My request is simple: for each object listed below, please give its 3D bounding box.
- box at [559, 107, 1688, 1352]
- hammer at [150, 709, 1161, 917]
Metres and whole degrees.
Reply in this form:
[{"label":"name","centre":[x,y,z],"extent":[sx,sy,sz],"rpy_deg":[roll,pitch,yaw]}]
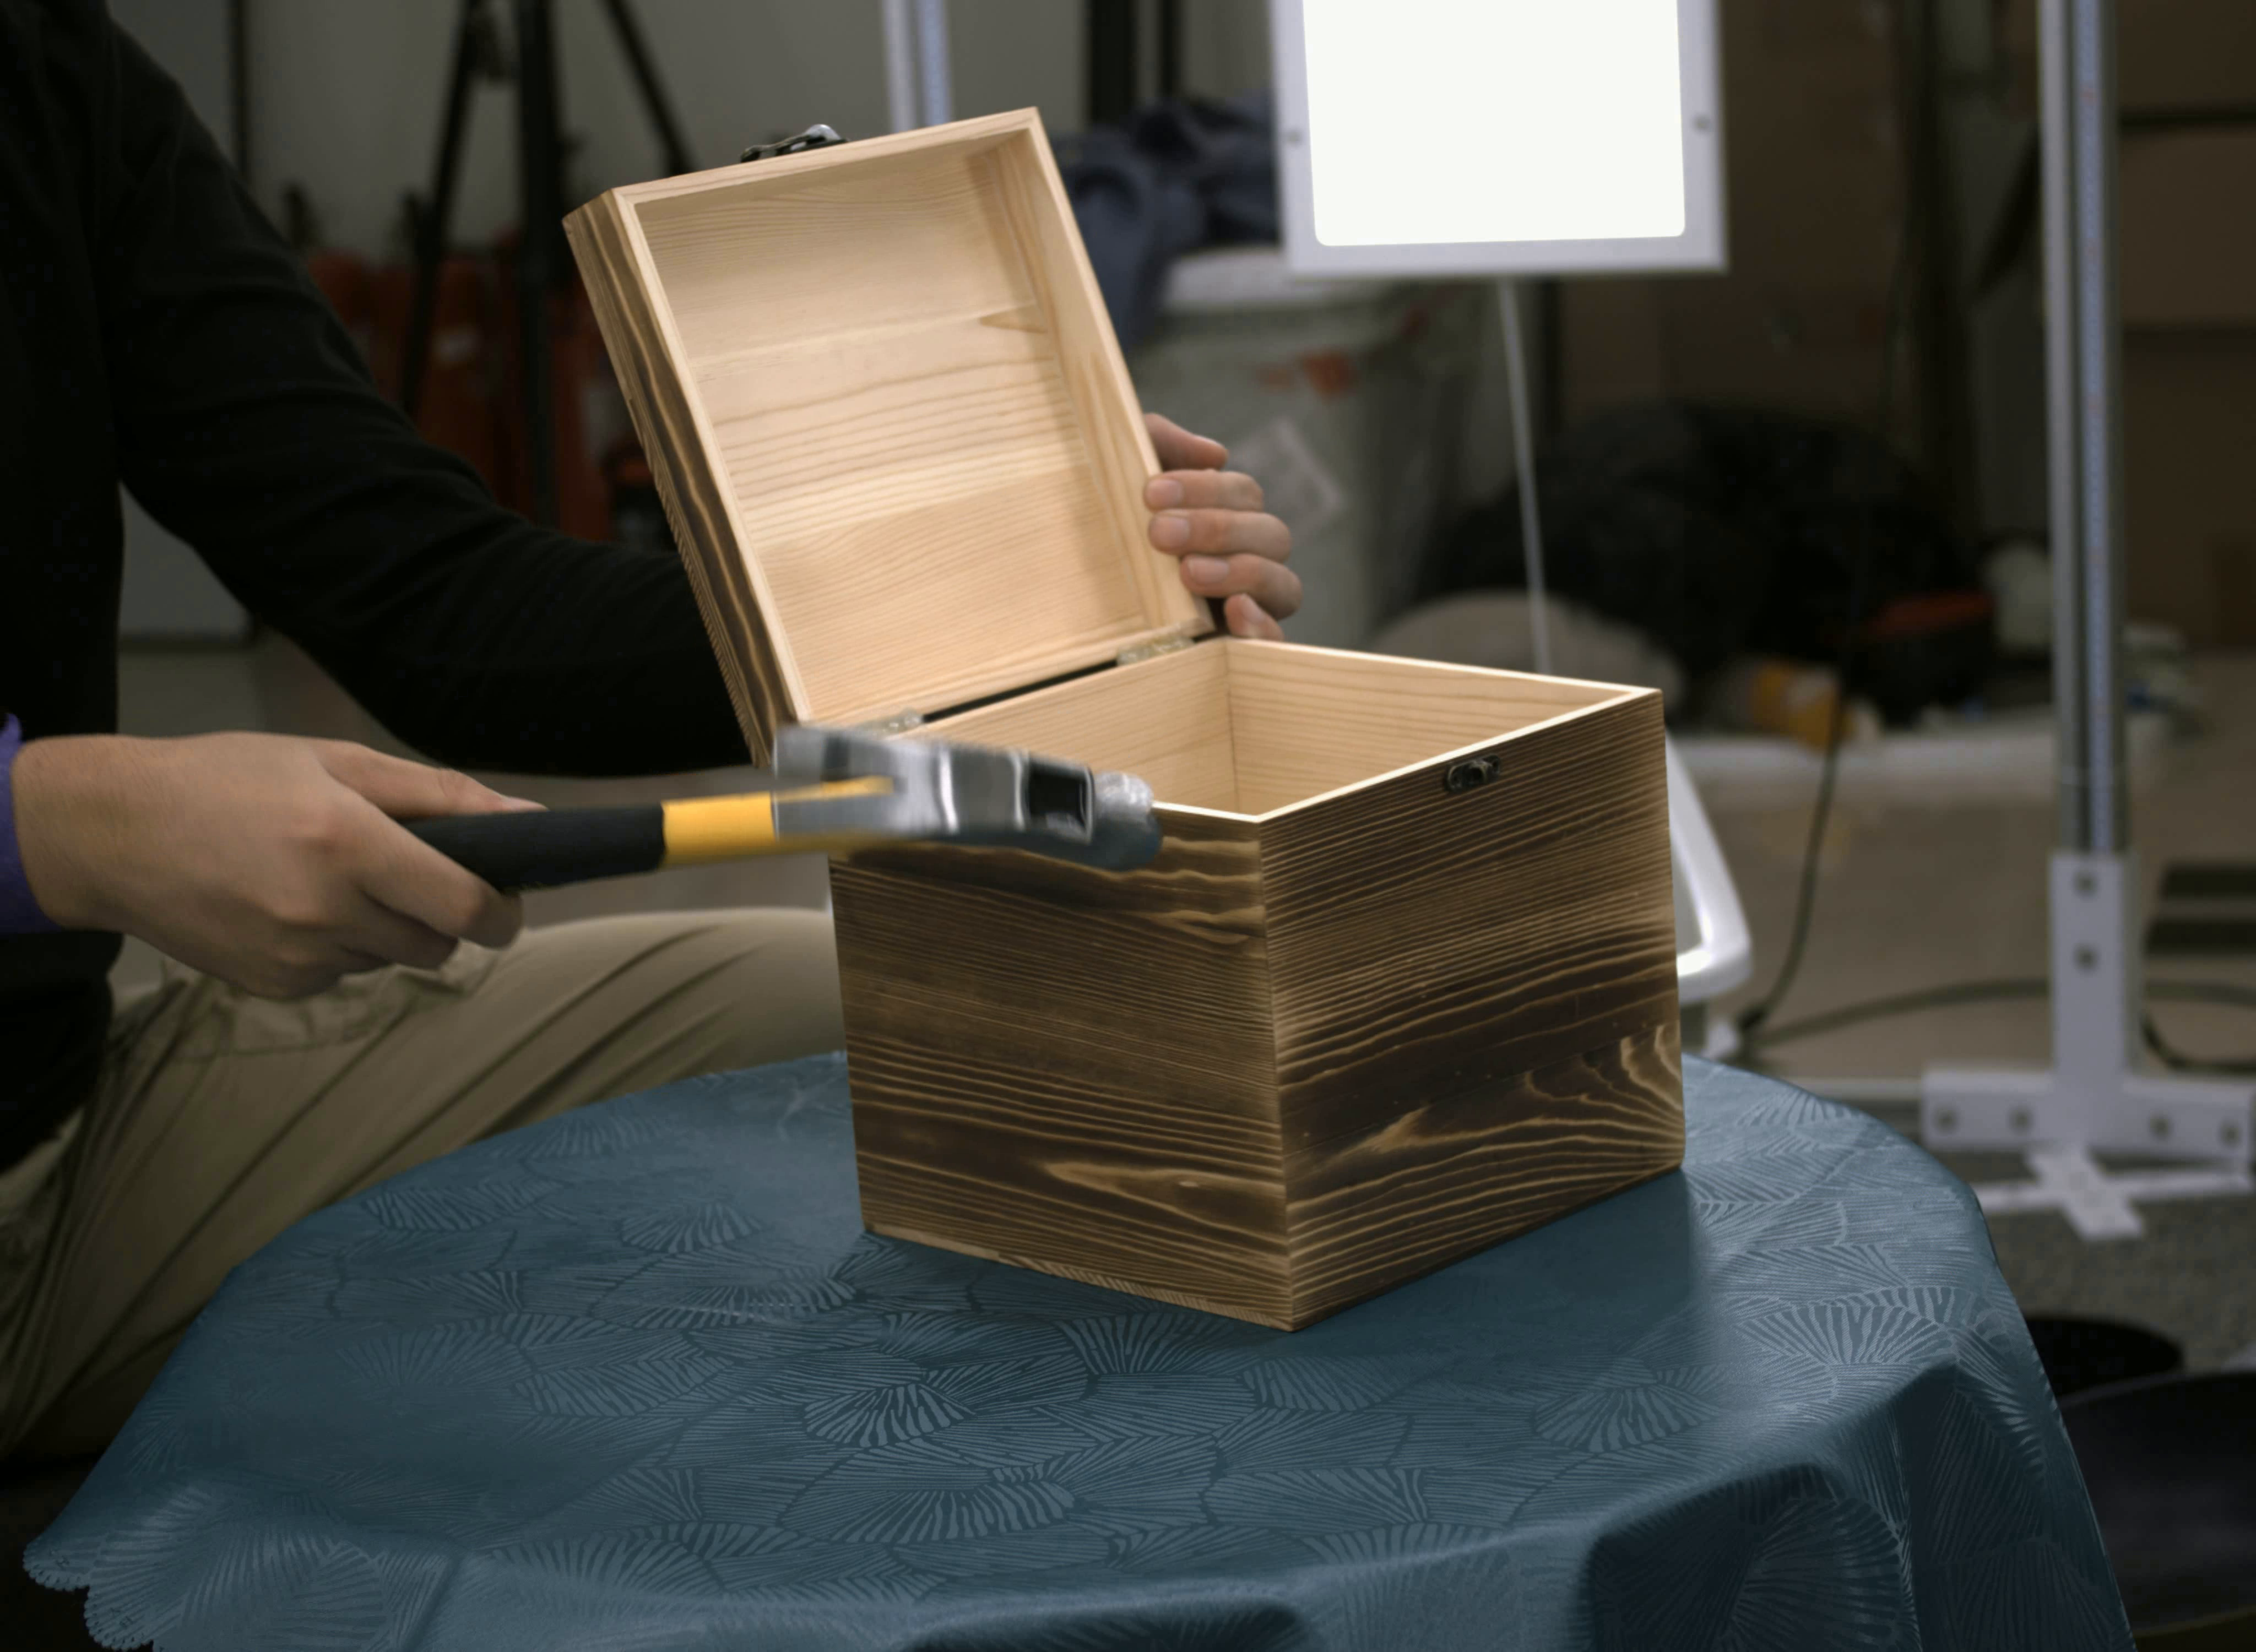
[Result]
[{"label":"box","centre":[-0.002,-0.050,1.870],"extent":[0.203,0.377,0.329],"rpy_deg":[-18,18,-42]},{"label":"hammer","centre":[-0.166,0.001,1.708],"extent":[0.345,0.032,0.128],"rpy_deg":[-6,-12,33]}]
